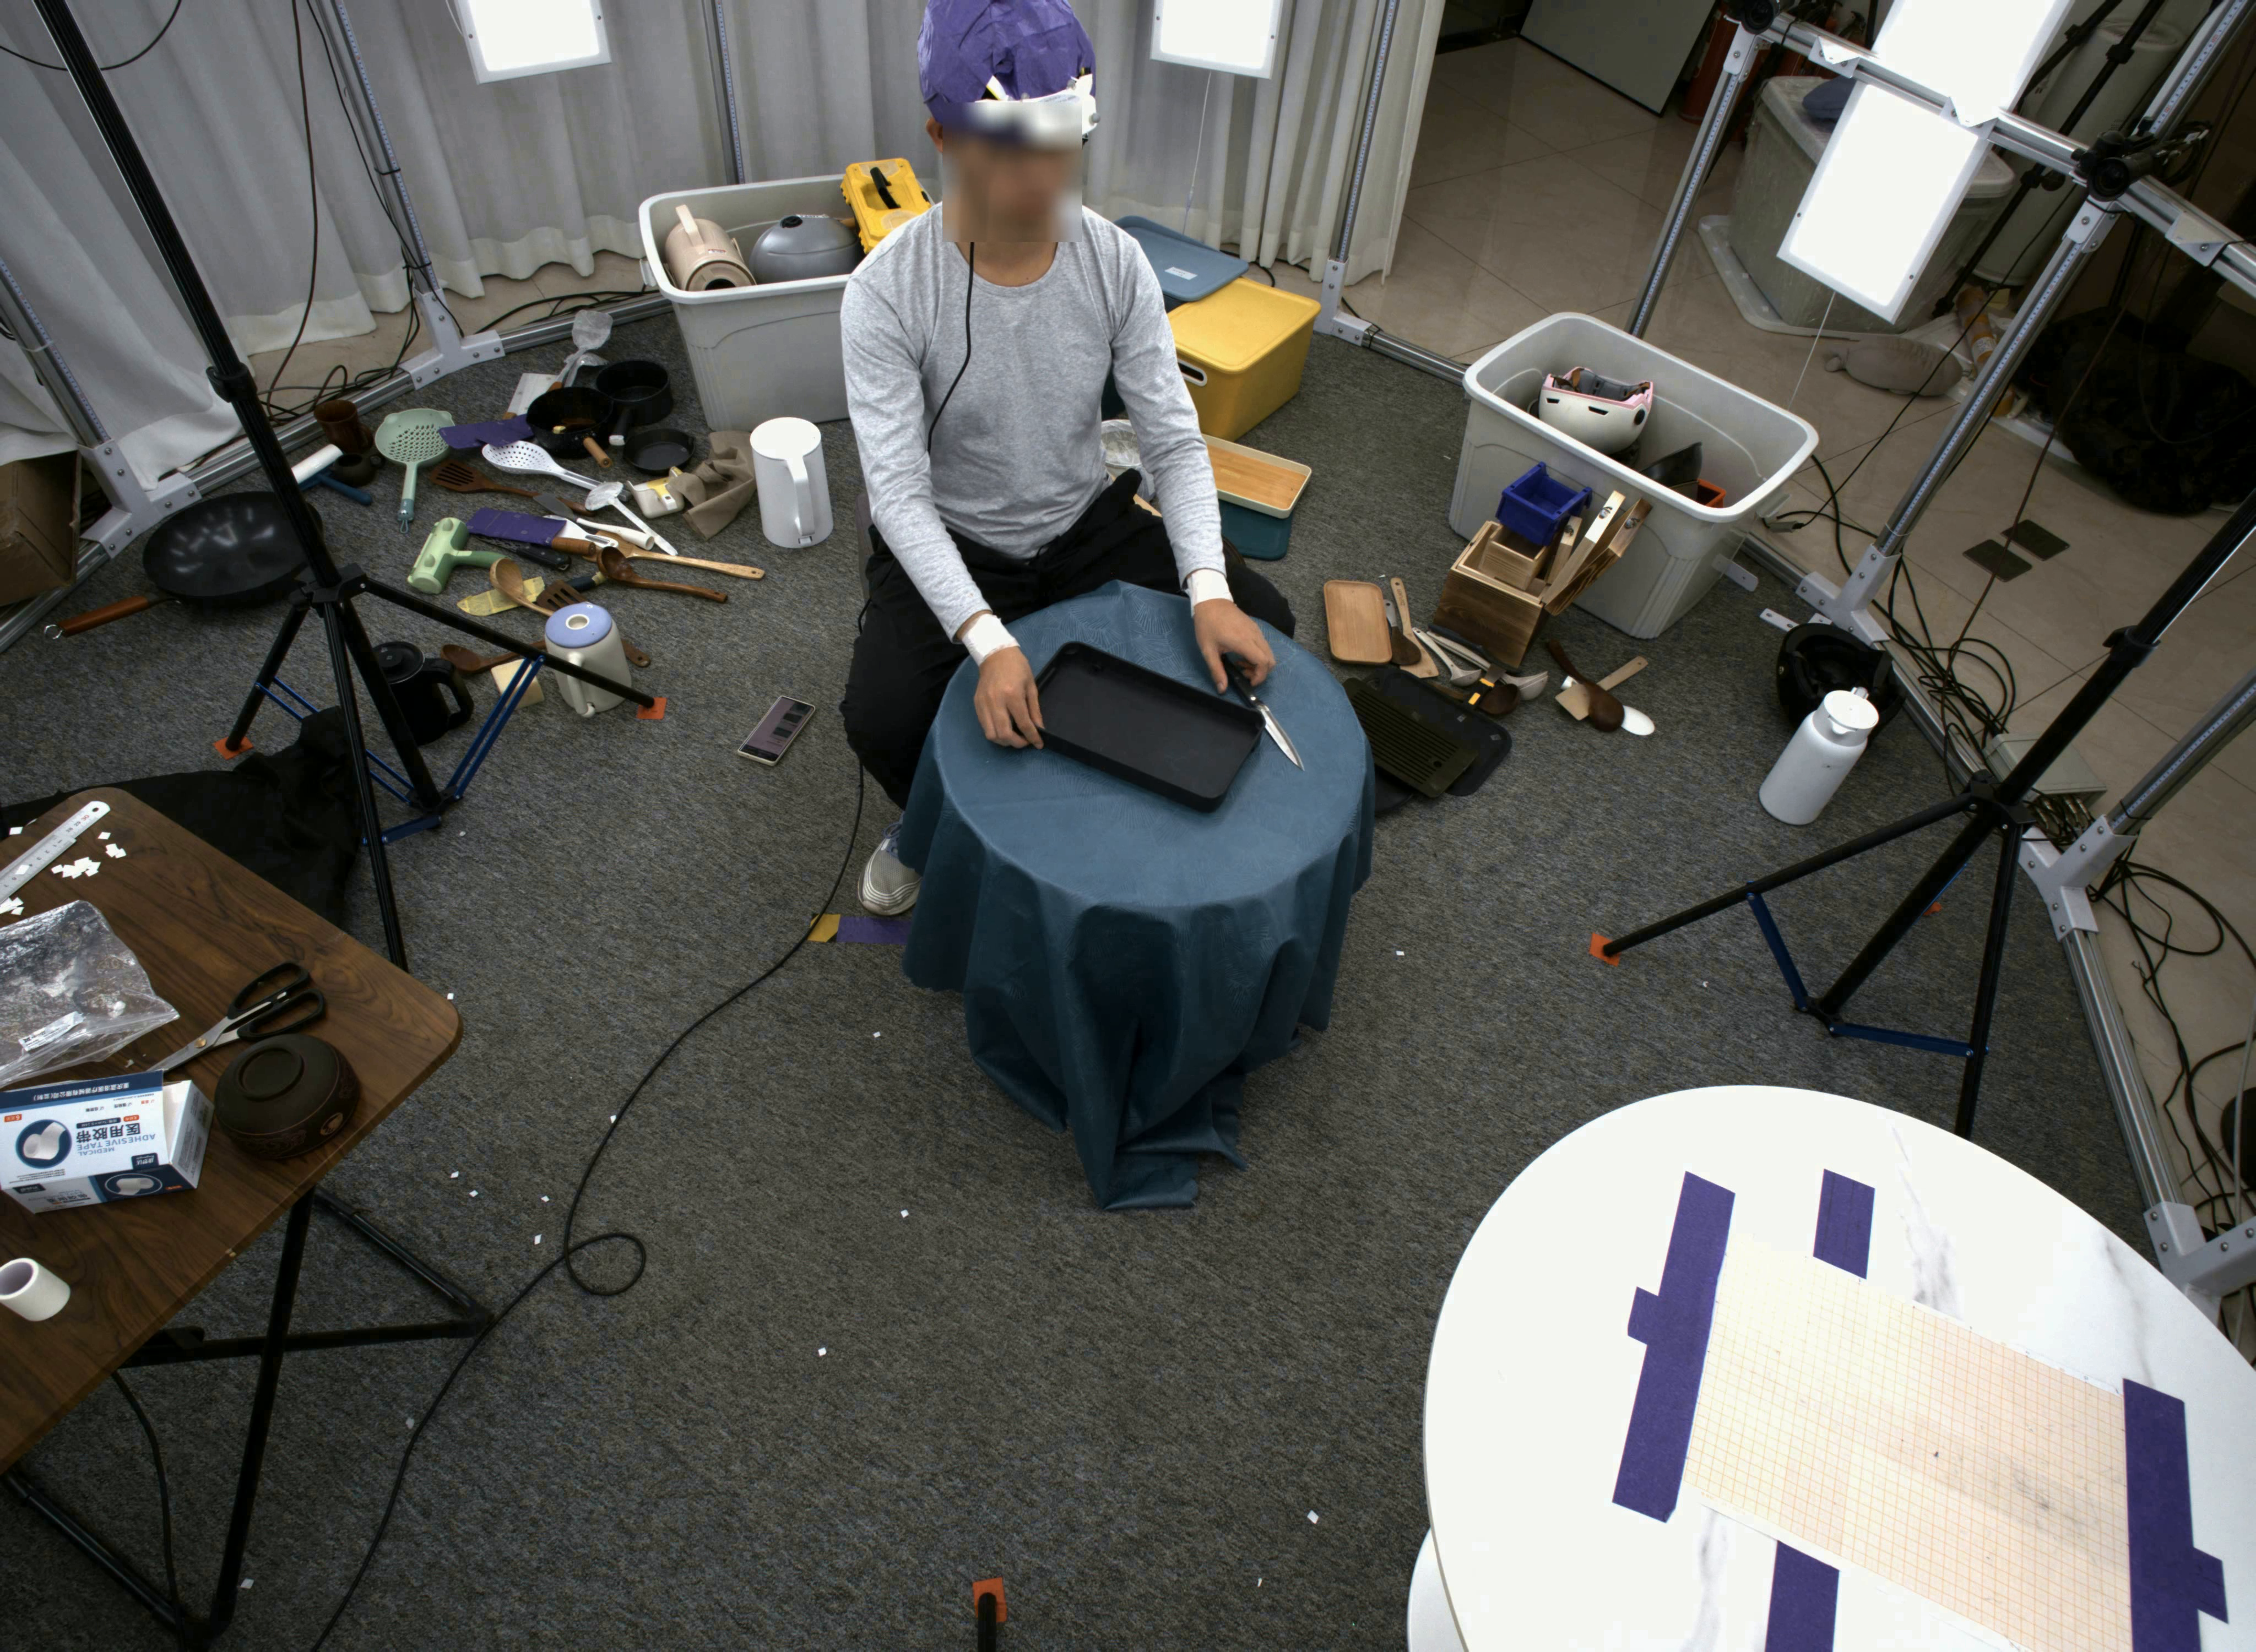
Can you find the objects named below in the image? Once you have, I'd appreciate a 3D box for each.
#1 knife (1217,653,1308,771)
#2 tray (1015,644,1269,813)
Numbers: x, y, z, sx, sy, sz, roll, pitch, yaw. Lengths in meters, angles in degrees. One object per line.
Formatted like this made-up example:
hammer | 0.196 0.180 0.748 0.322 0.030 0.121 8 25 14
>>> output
knife | 0.188 -0.162 1.813 0.024 0.016 0.243 -18 55 -21
tray | 0.020 -0.138 1.765 0.320 0.036 0.187 22 51 15
